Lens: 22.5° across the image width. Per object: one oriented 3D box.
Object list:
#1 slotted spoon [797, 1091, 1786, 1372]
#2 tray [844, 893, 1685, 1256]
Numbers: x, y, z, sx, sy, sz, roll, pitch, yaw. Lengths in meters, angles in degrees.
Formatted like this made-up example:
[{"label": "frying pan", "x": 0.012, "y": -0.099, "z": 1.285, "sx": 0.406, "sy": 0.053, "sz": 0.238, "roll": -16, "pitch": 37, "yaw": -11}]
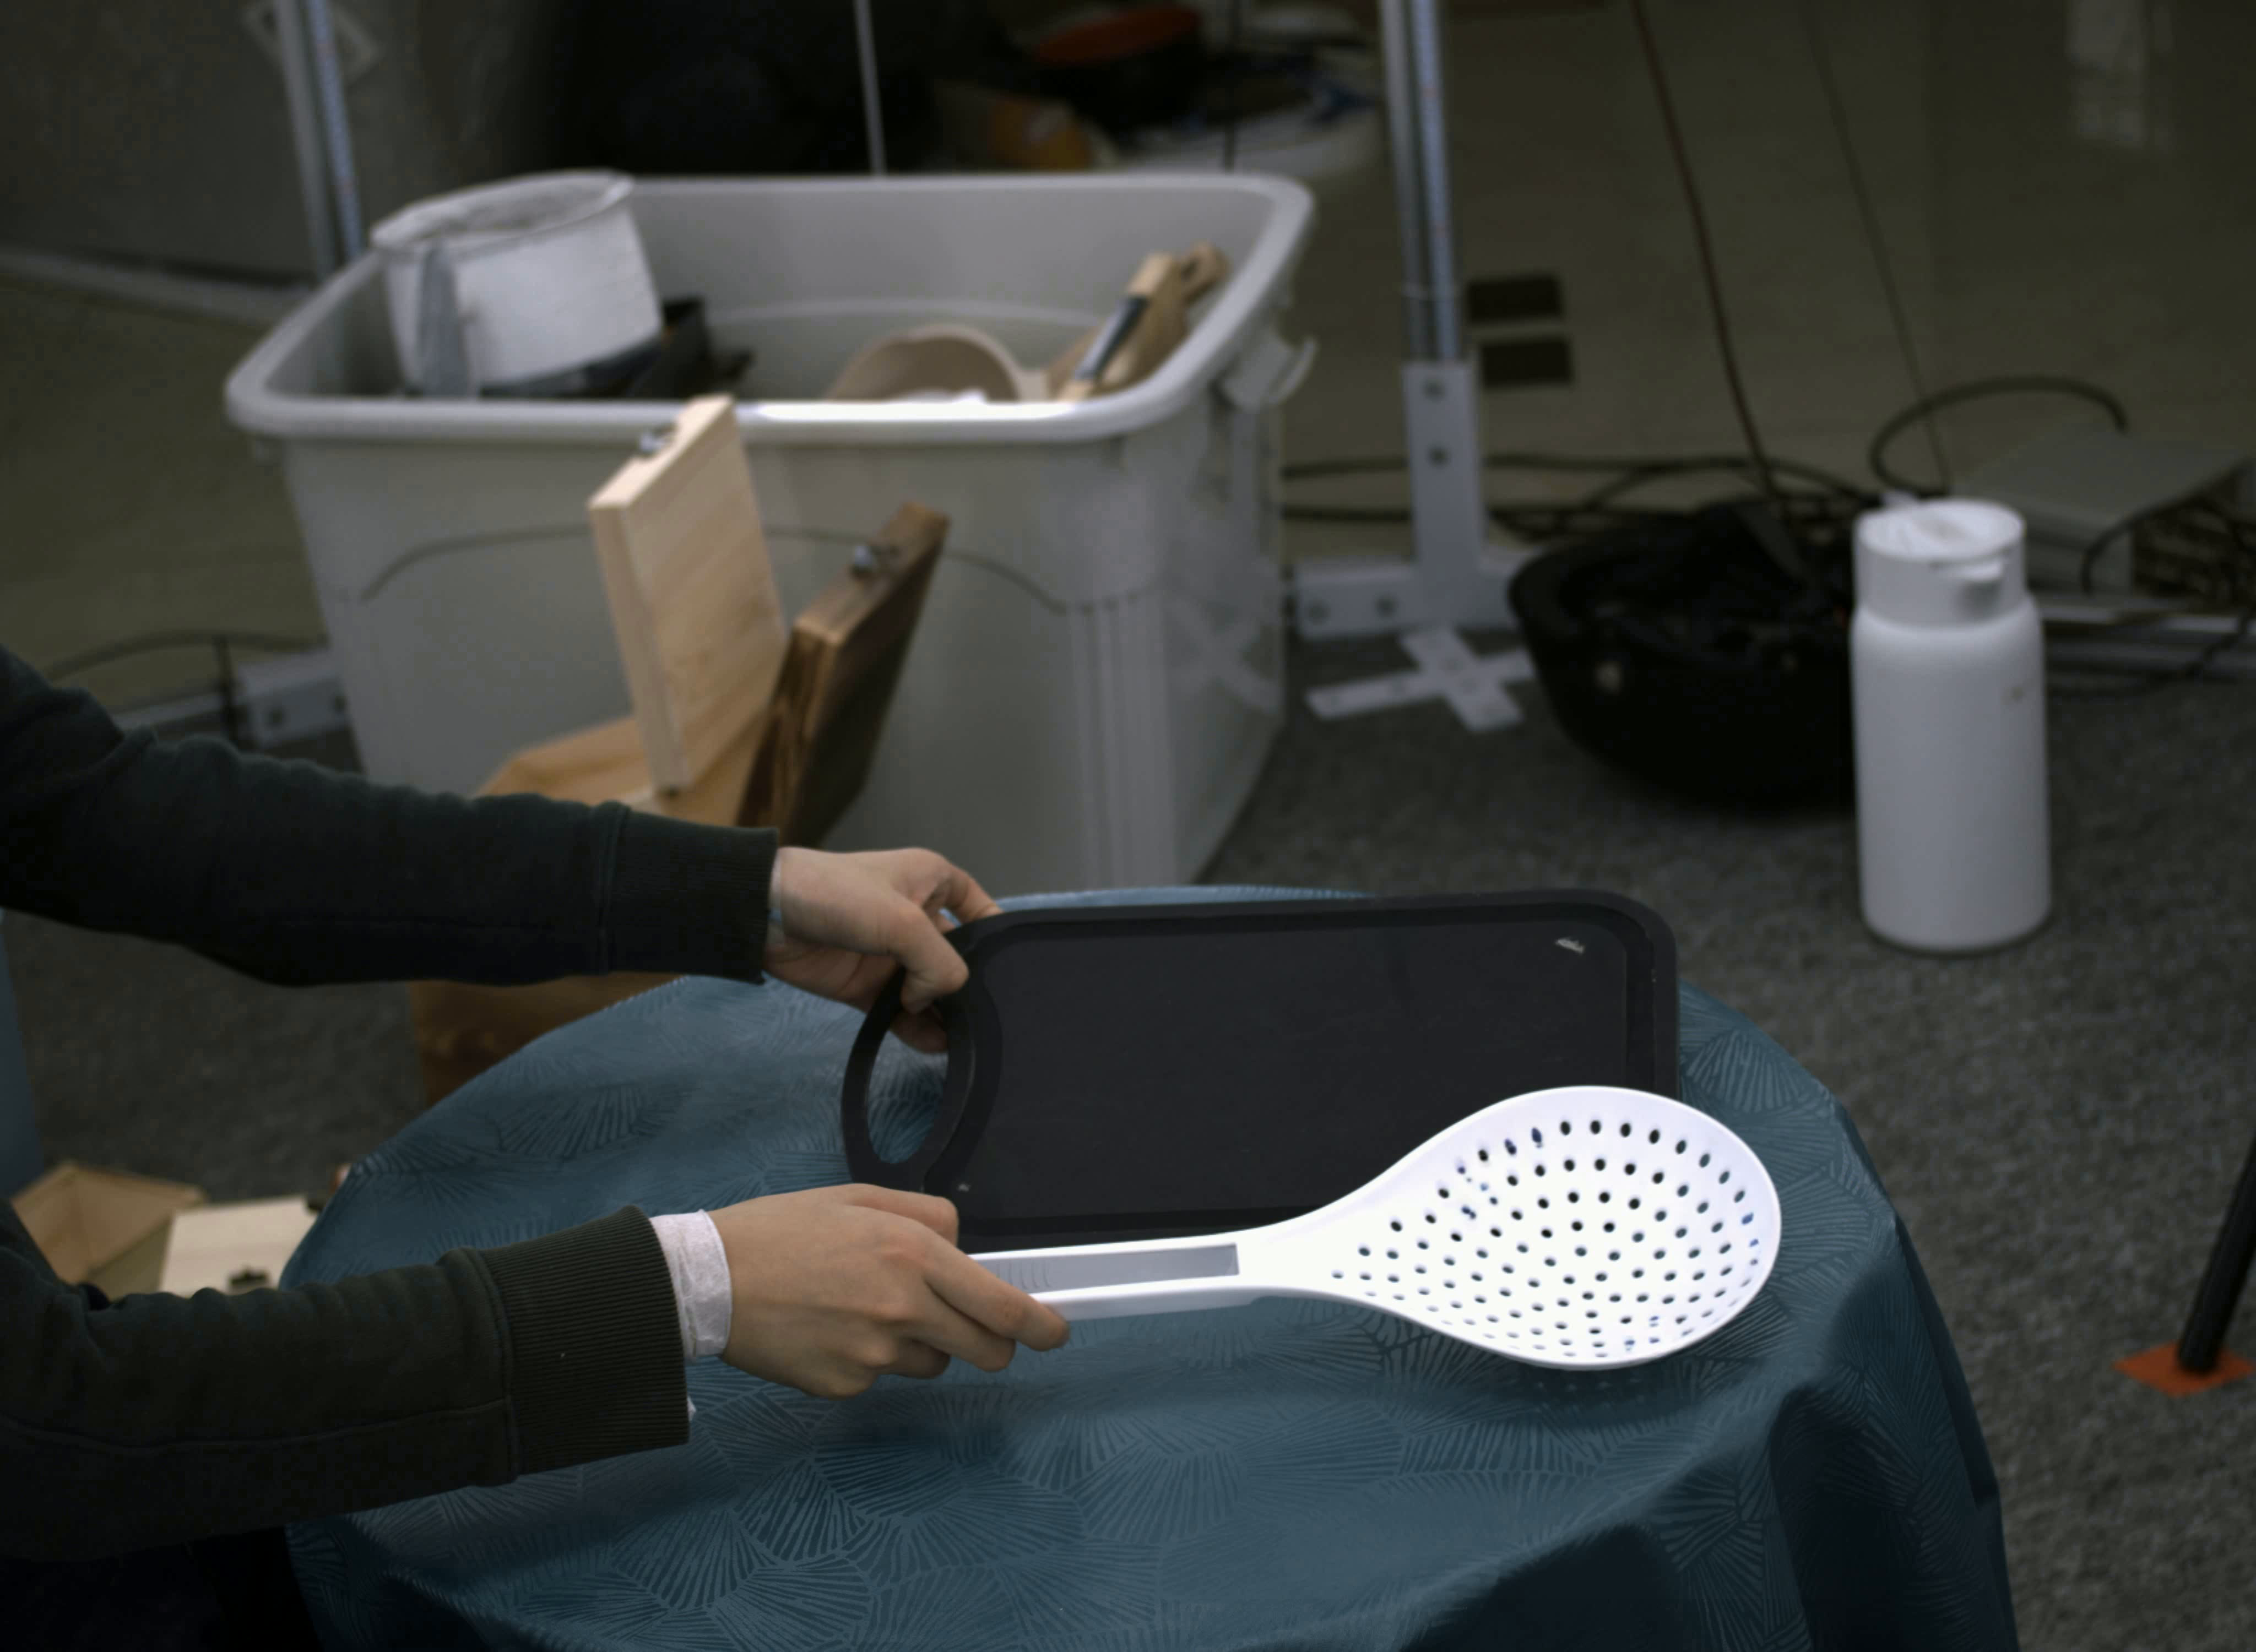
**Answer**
[{"label": "slotted spoon", "x": 0.057, "y": 0.156, "z": 2.014, "sx": 0.349, "sy": 0.046, "sz": 0.133, "roll": -2, "pitch": 42, "yaw": -3}, {"label": "tray", "x": 0.051, "y": 0.093, "z": 2.184, "sx": 0.325, "sy": 0.010, "sz": 0.207, "roll": -3, "pitch": 36, "yaw": 8}]
